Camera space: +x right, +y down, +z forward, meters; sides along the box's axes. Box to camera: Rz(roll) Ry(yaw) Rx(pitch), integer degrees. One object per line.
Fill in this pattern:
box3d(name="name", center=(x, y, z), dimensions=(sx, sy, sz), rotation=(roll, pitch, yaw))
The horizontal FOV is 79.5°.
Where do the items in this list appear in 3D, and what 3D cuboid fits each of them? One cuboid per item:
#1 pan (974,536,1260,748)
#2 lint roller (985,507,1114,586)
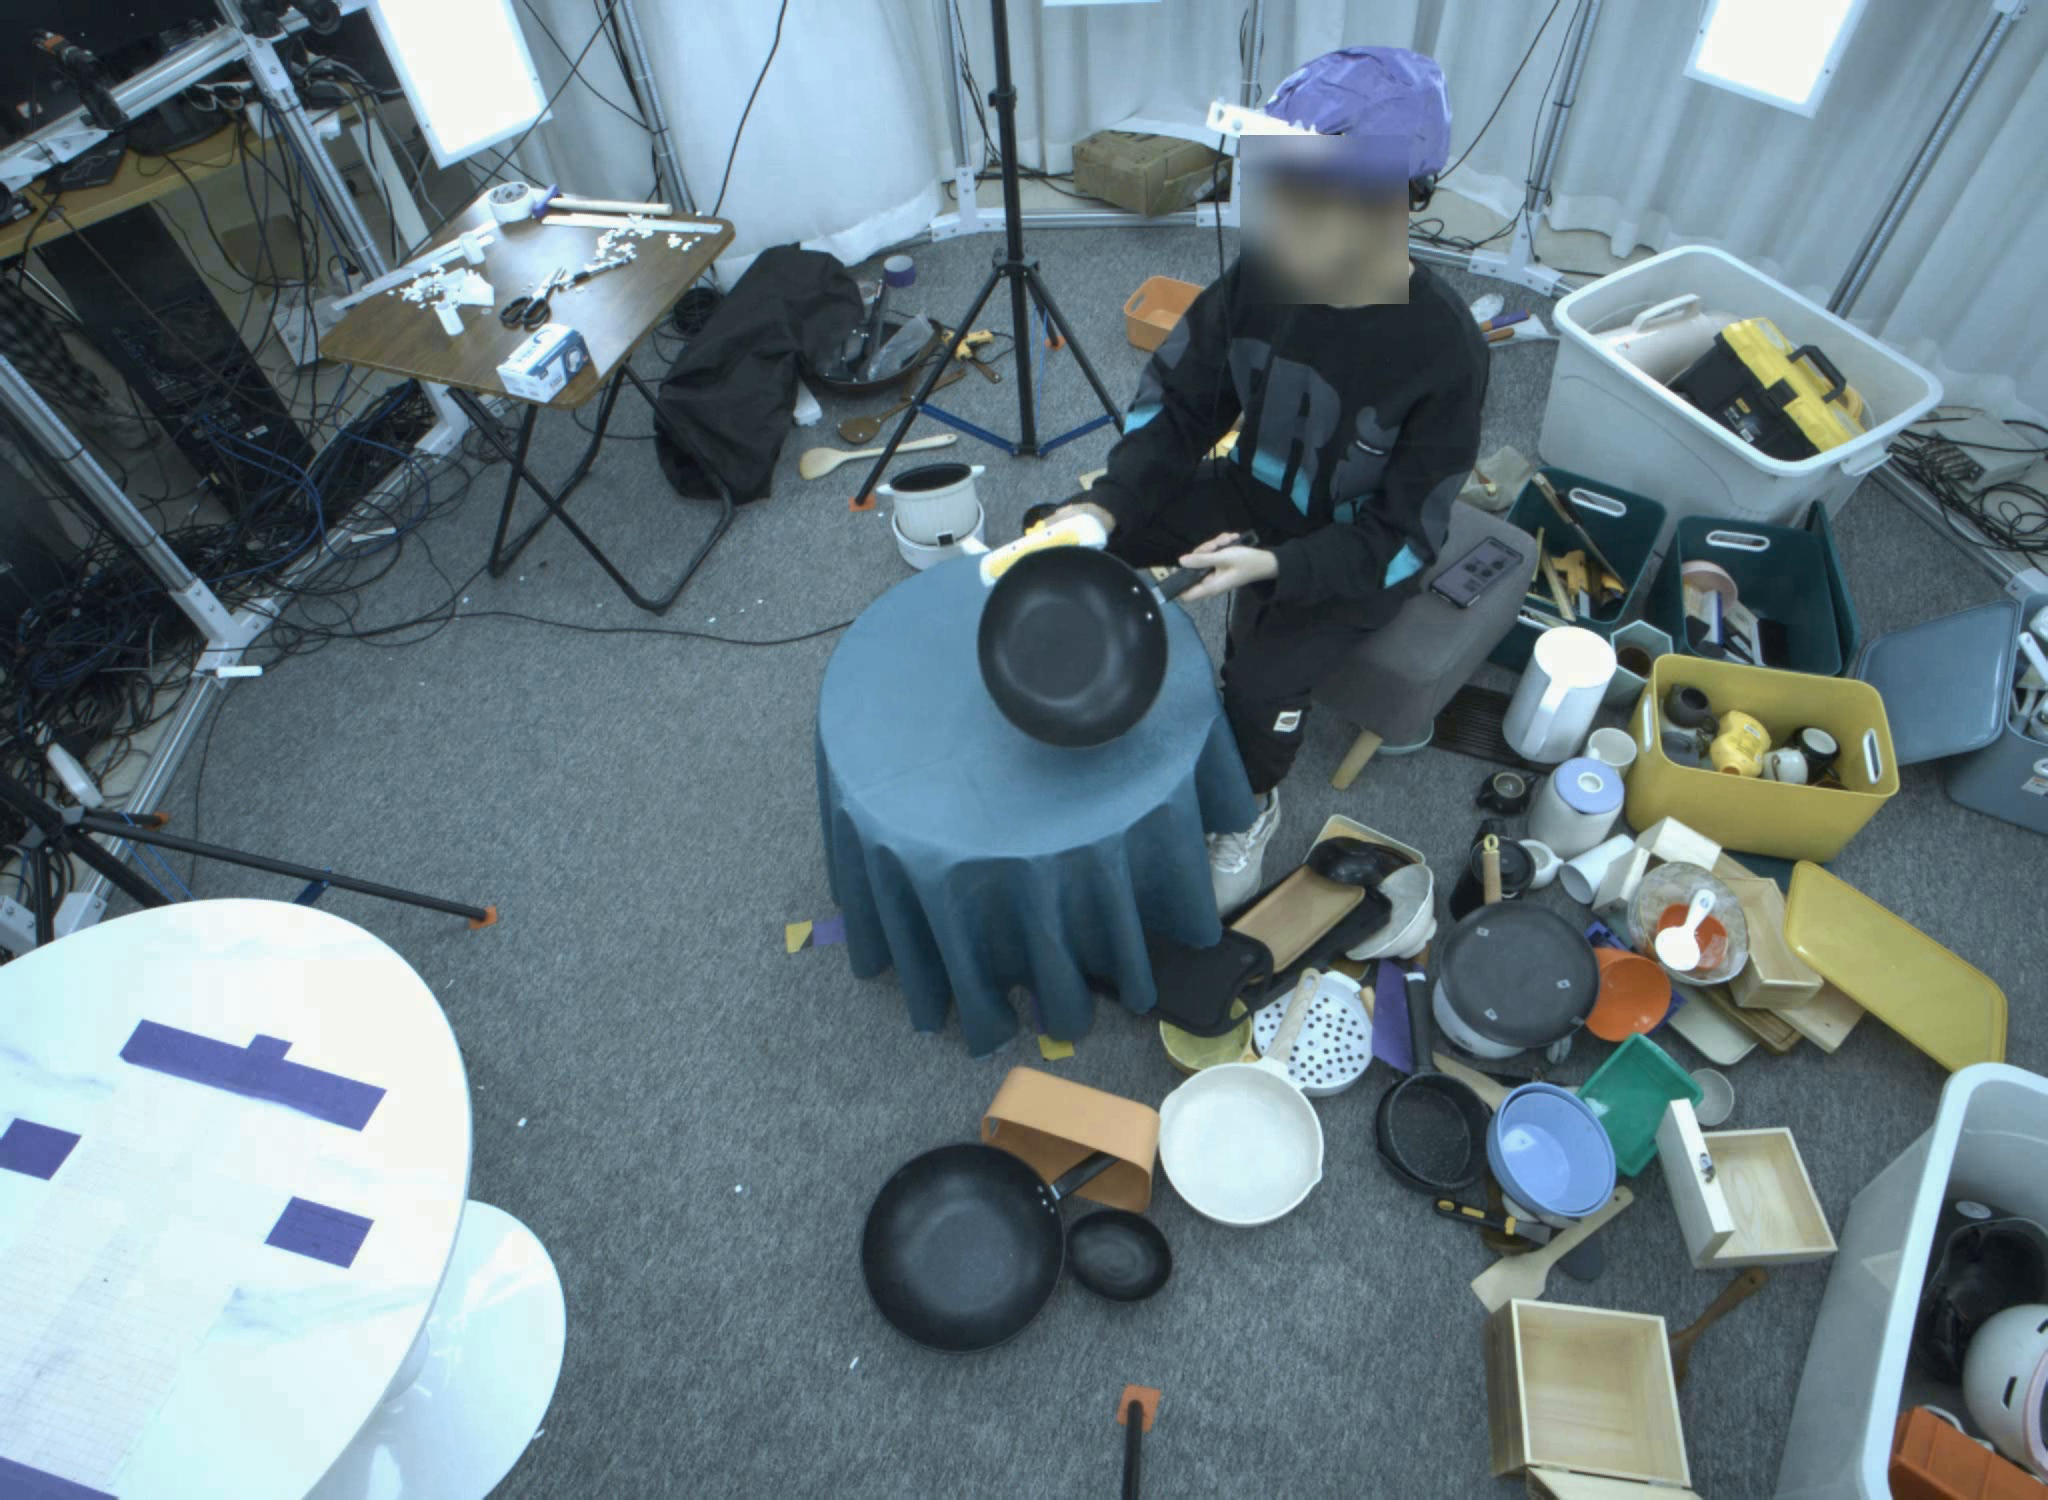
box3d(name="pan", center=(0.131, -0.191, 1.739), dimensions=(0.466, 0.085, 0.290), rotation=(-32, 102, -15))
box3d(name="lint roller", center=(0.049, -0.301, 1.788), dimensions=(0.191, 0.194, 0.074), rotation=(-26, 91, 21))
